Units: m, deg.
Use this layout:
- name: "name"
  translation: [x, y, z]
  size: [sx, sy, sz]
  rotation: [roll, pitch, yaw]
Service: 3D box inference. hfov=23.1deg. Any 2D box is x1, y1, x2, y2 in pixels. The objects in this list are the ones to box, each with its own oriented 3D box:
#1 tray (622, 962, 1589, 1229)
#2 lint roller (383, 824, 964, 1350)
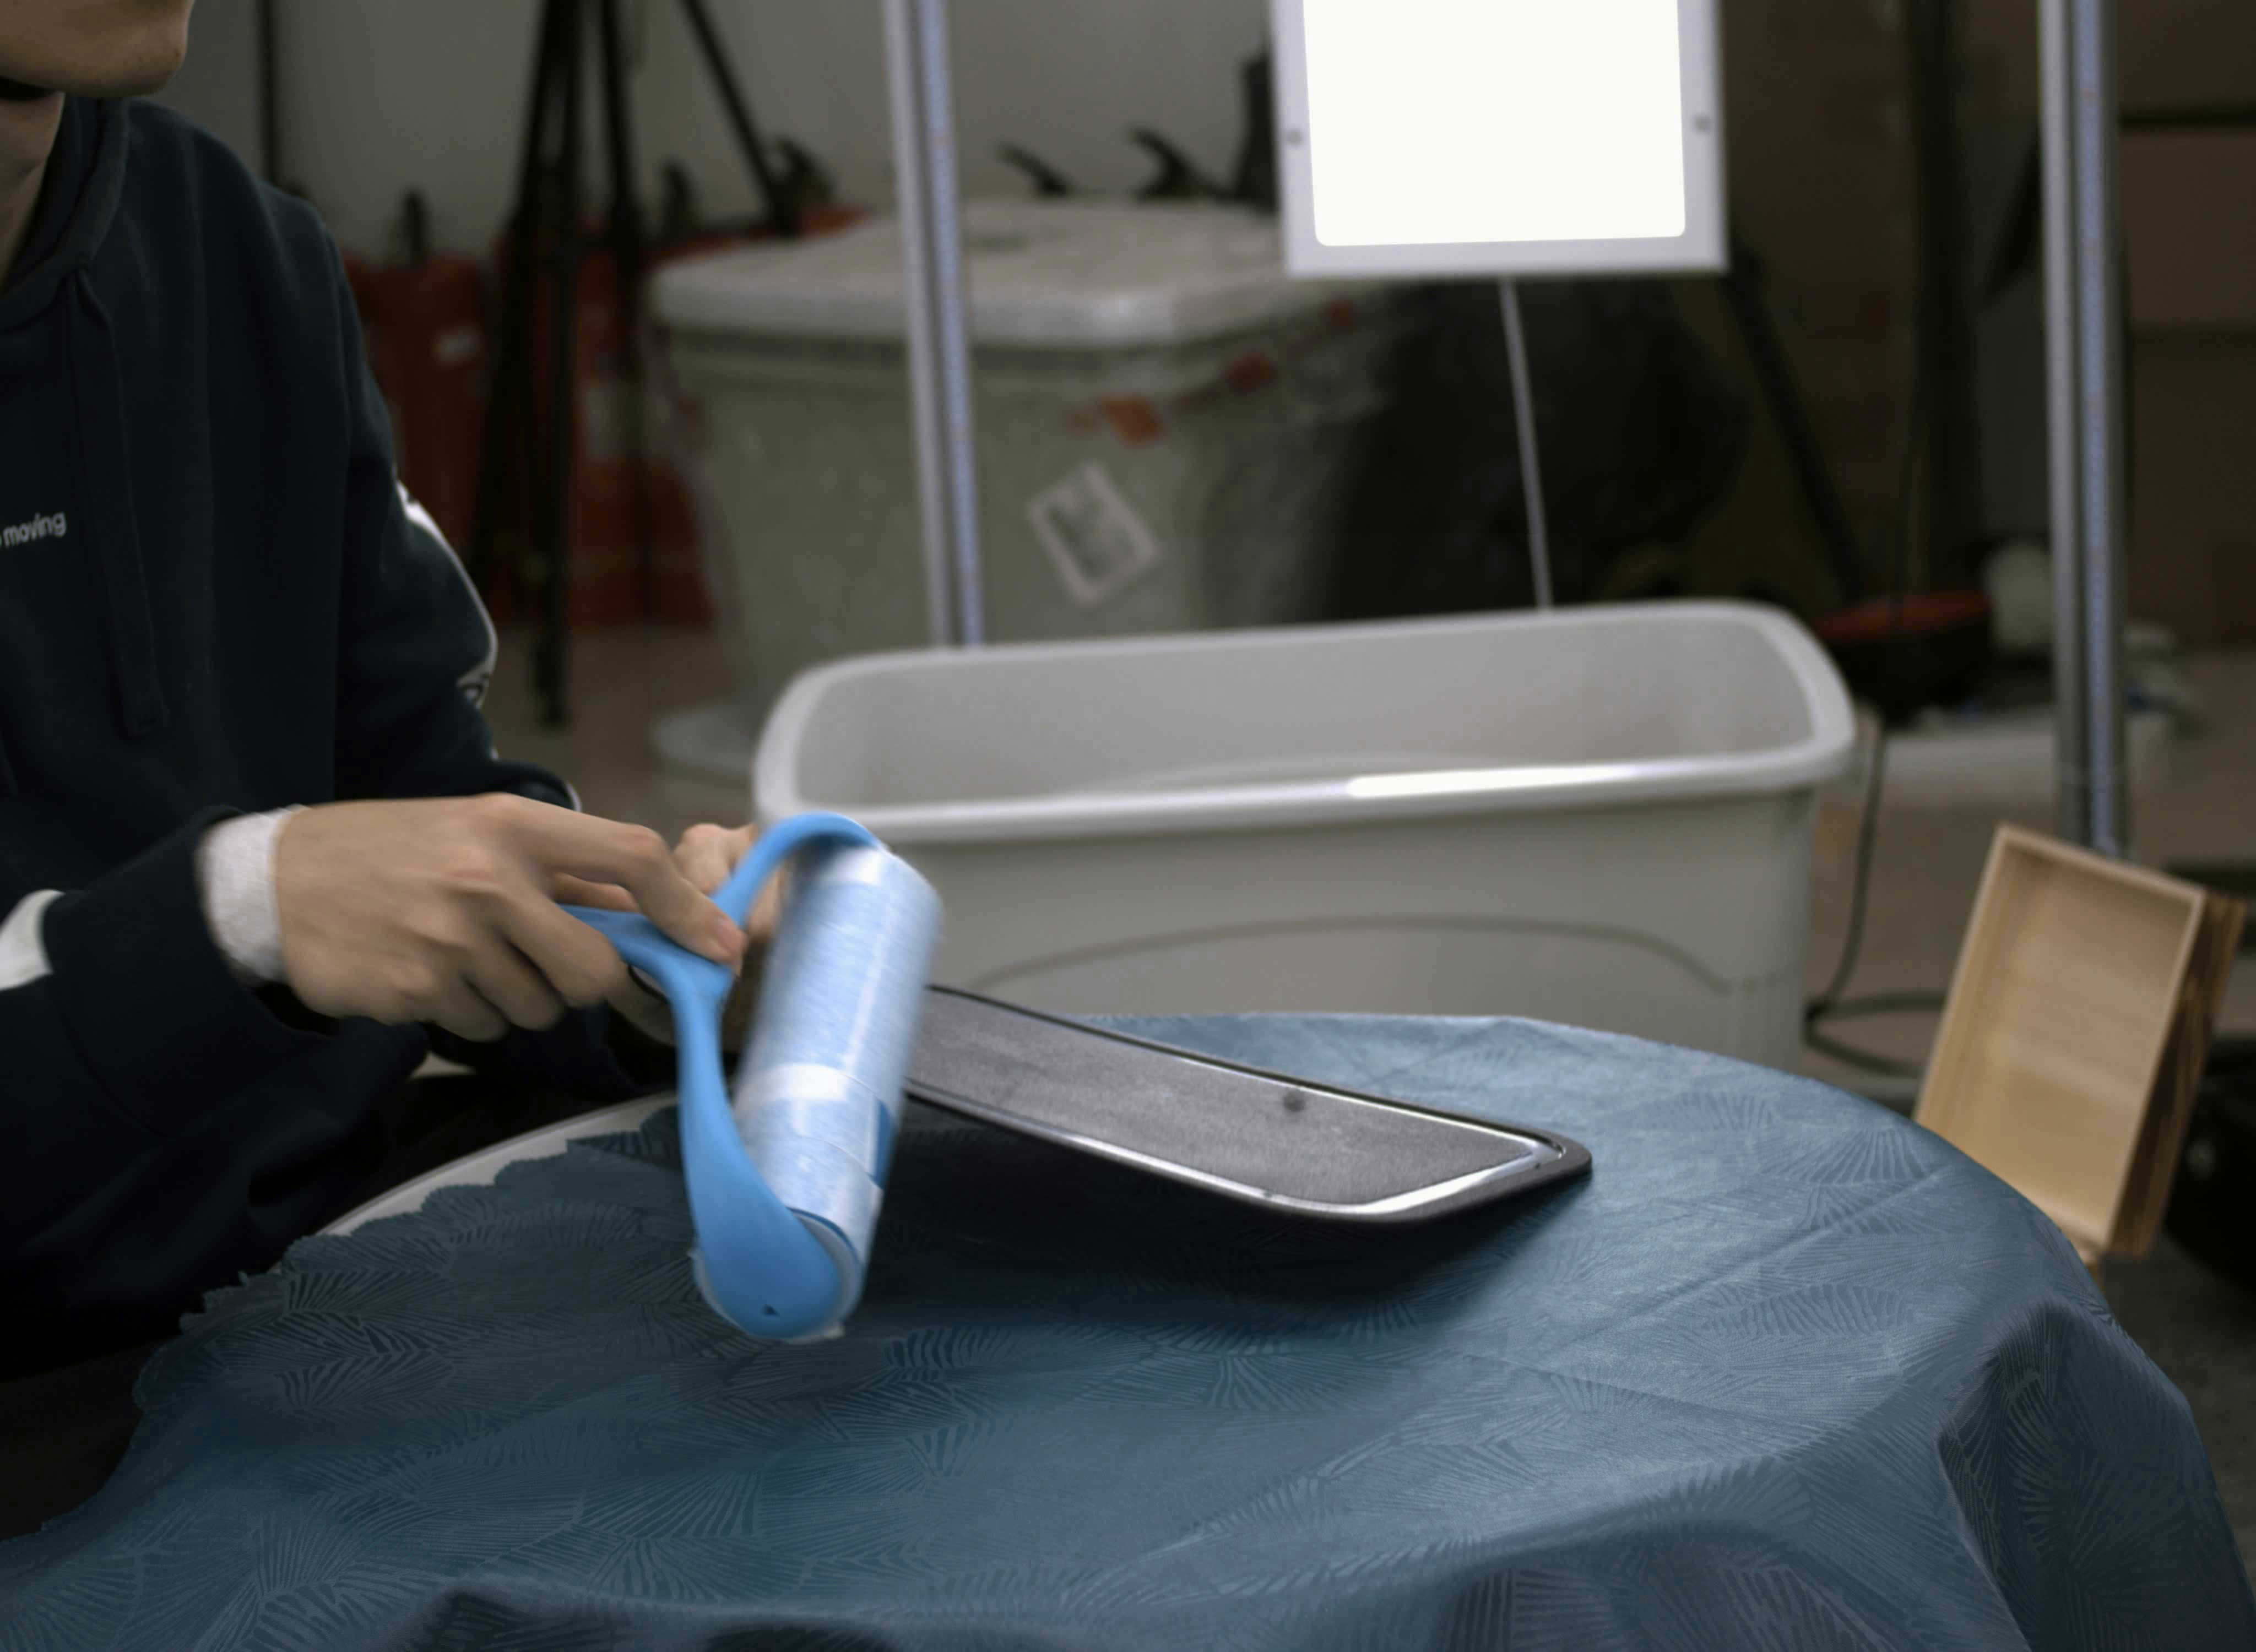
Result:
- name: "tray"
  translation: [-0.014, 0.084, 1.887]
  size: [0.331, 0.010, 0.206]
  rotation: [16, 11, 29]
- name: "lint roller"
  translation: [-0.144, 0.064, 1.756]
  size: [0.179, 0.069, 0.227]
  rotation: [21, 36, -9]
